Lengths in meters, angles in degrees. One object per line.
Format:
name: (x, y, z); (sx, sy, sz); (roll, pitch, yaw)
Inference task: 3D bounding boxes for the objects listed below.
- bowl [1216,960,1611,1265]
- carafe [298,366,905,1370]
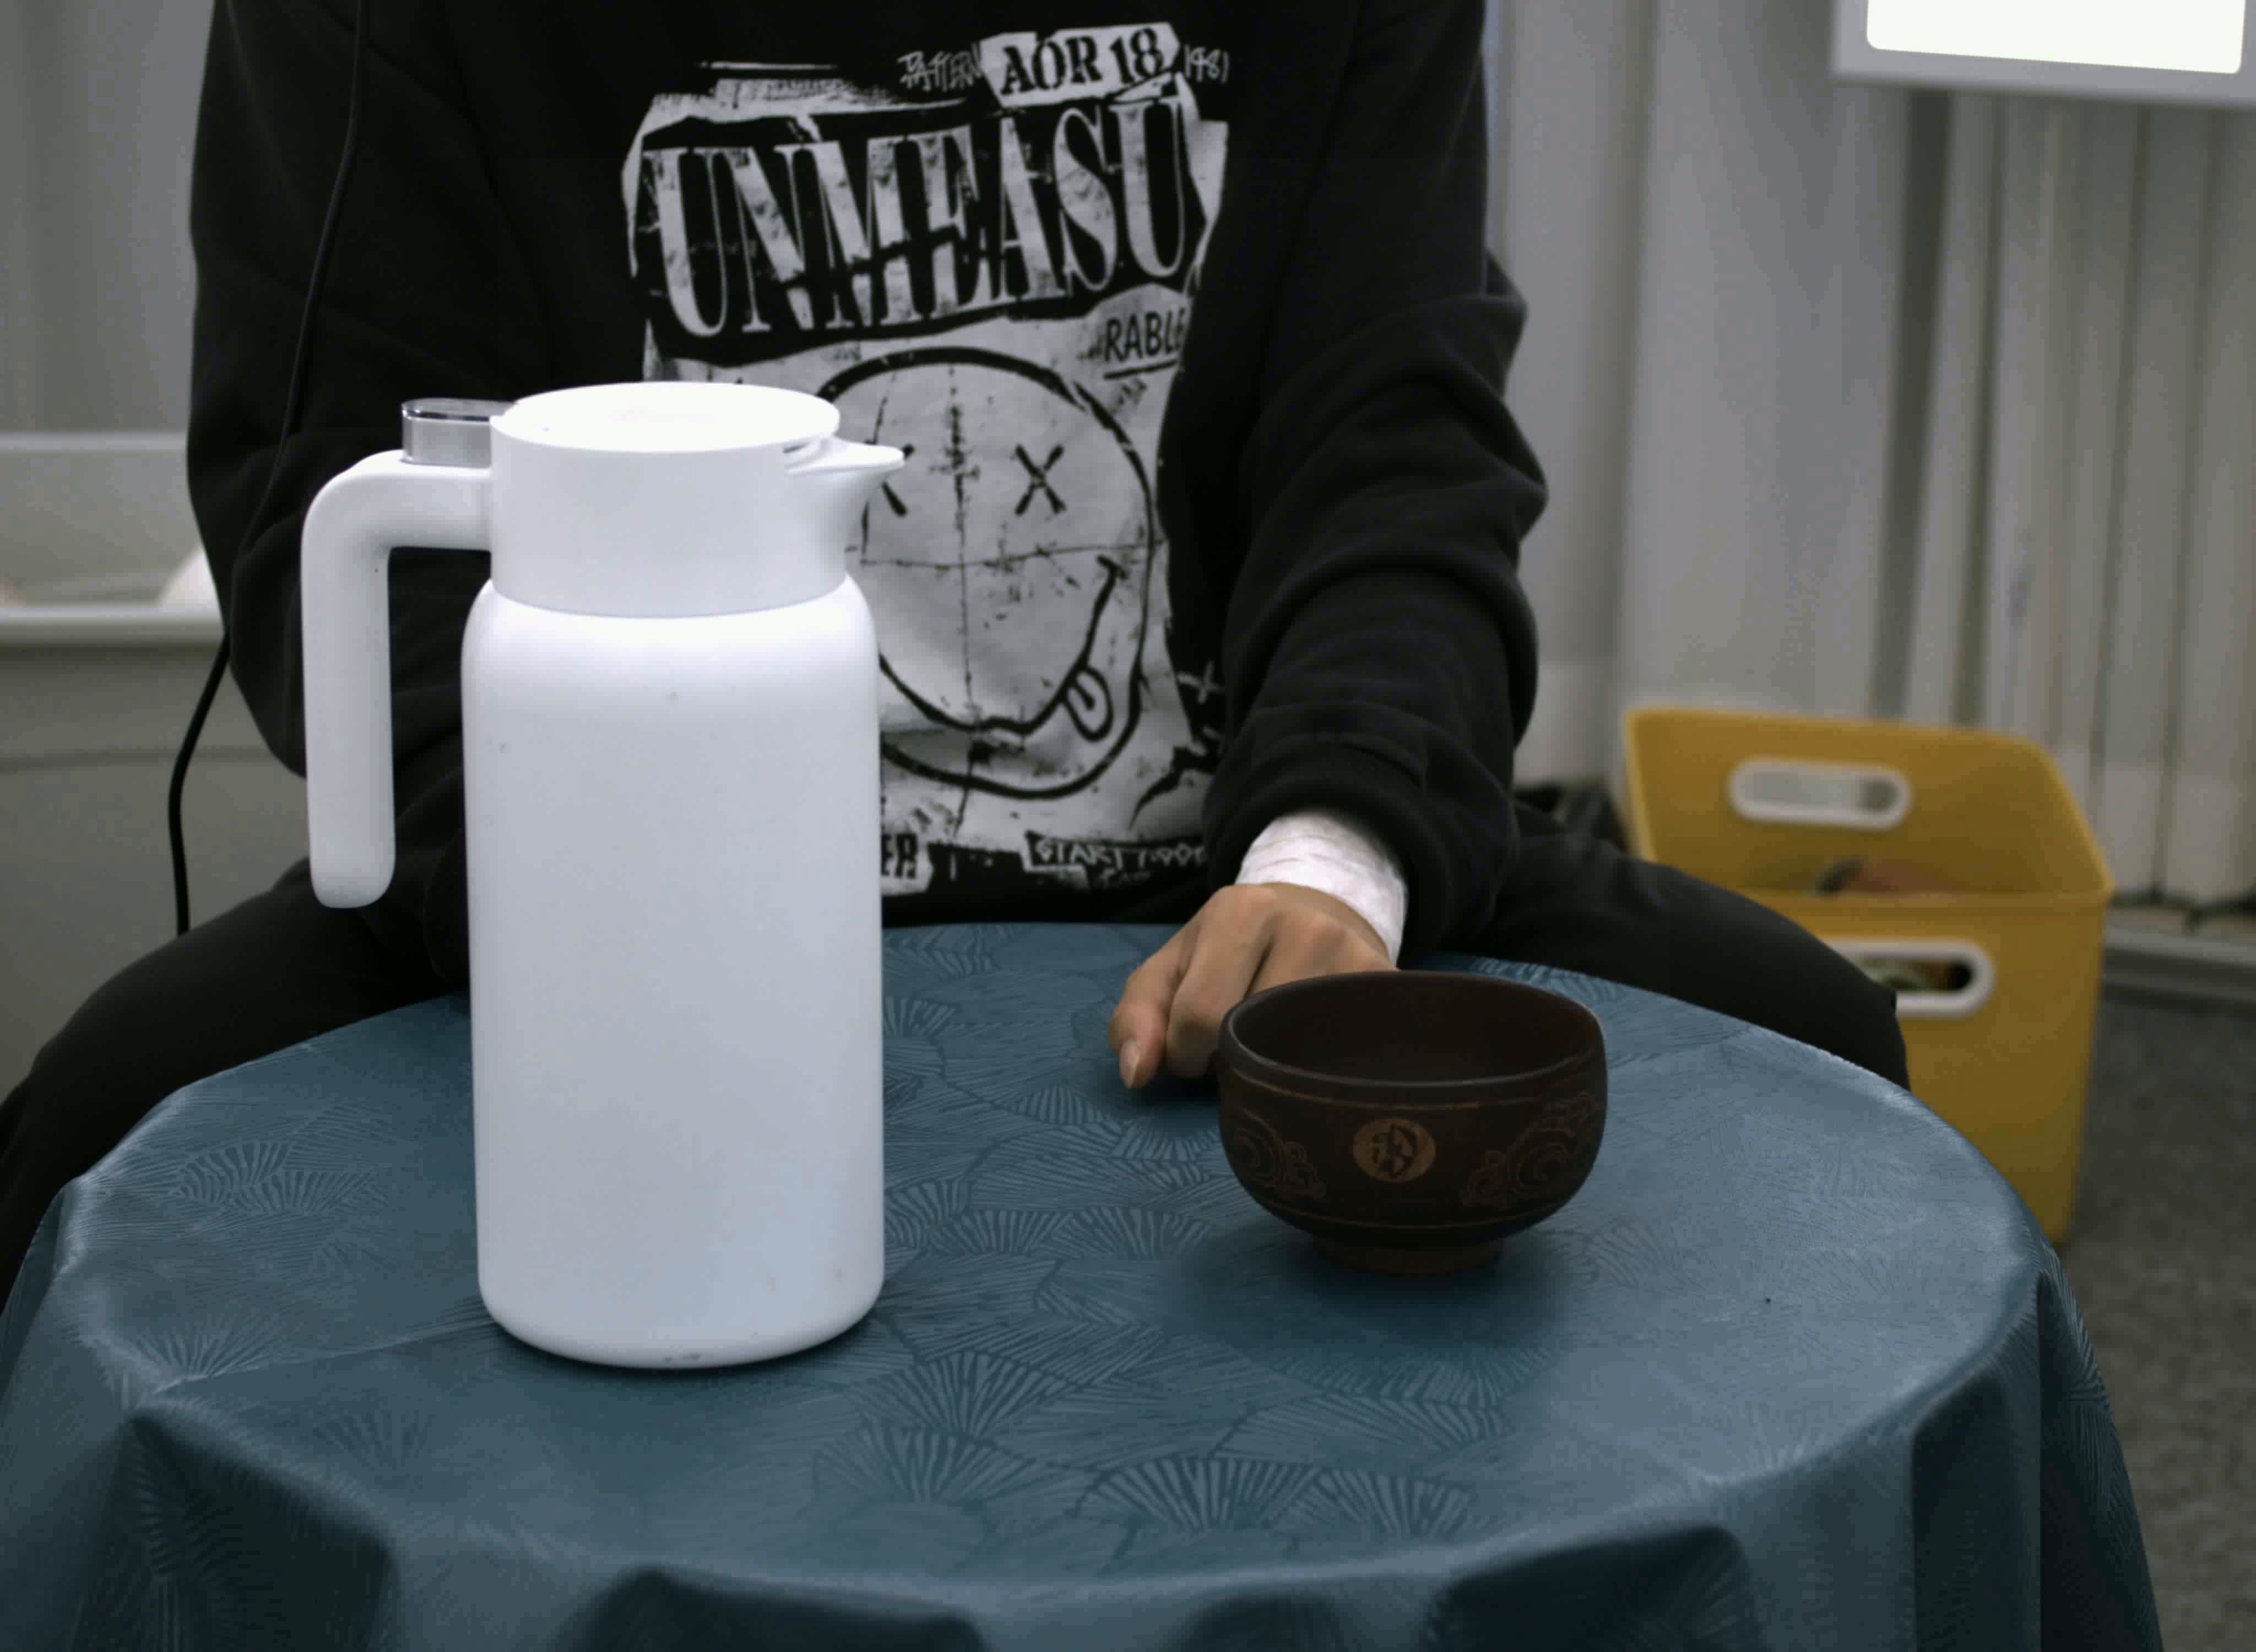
bowl: (0.085, 0.089, 1.569); (0.117, 0.070, 0.117); (0, 15, 1)
carafe: (-0.146, 0.011, 1.484); (0.172, 0.271, 0.123); (2, 18, 8)
